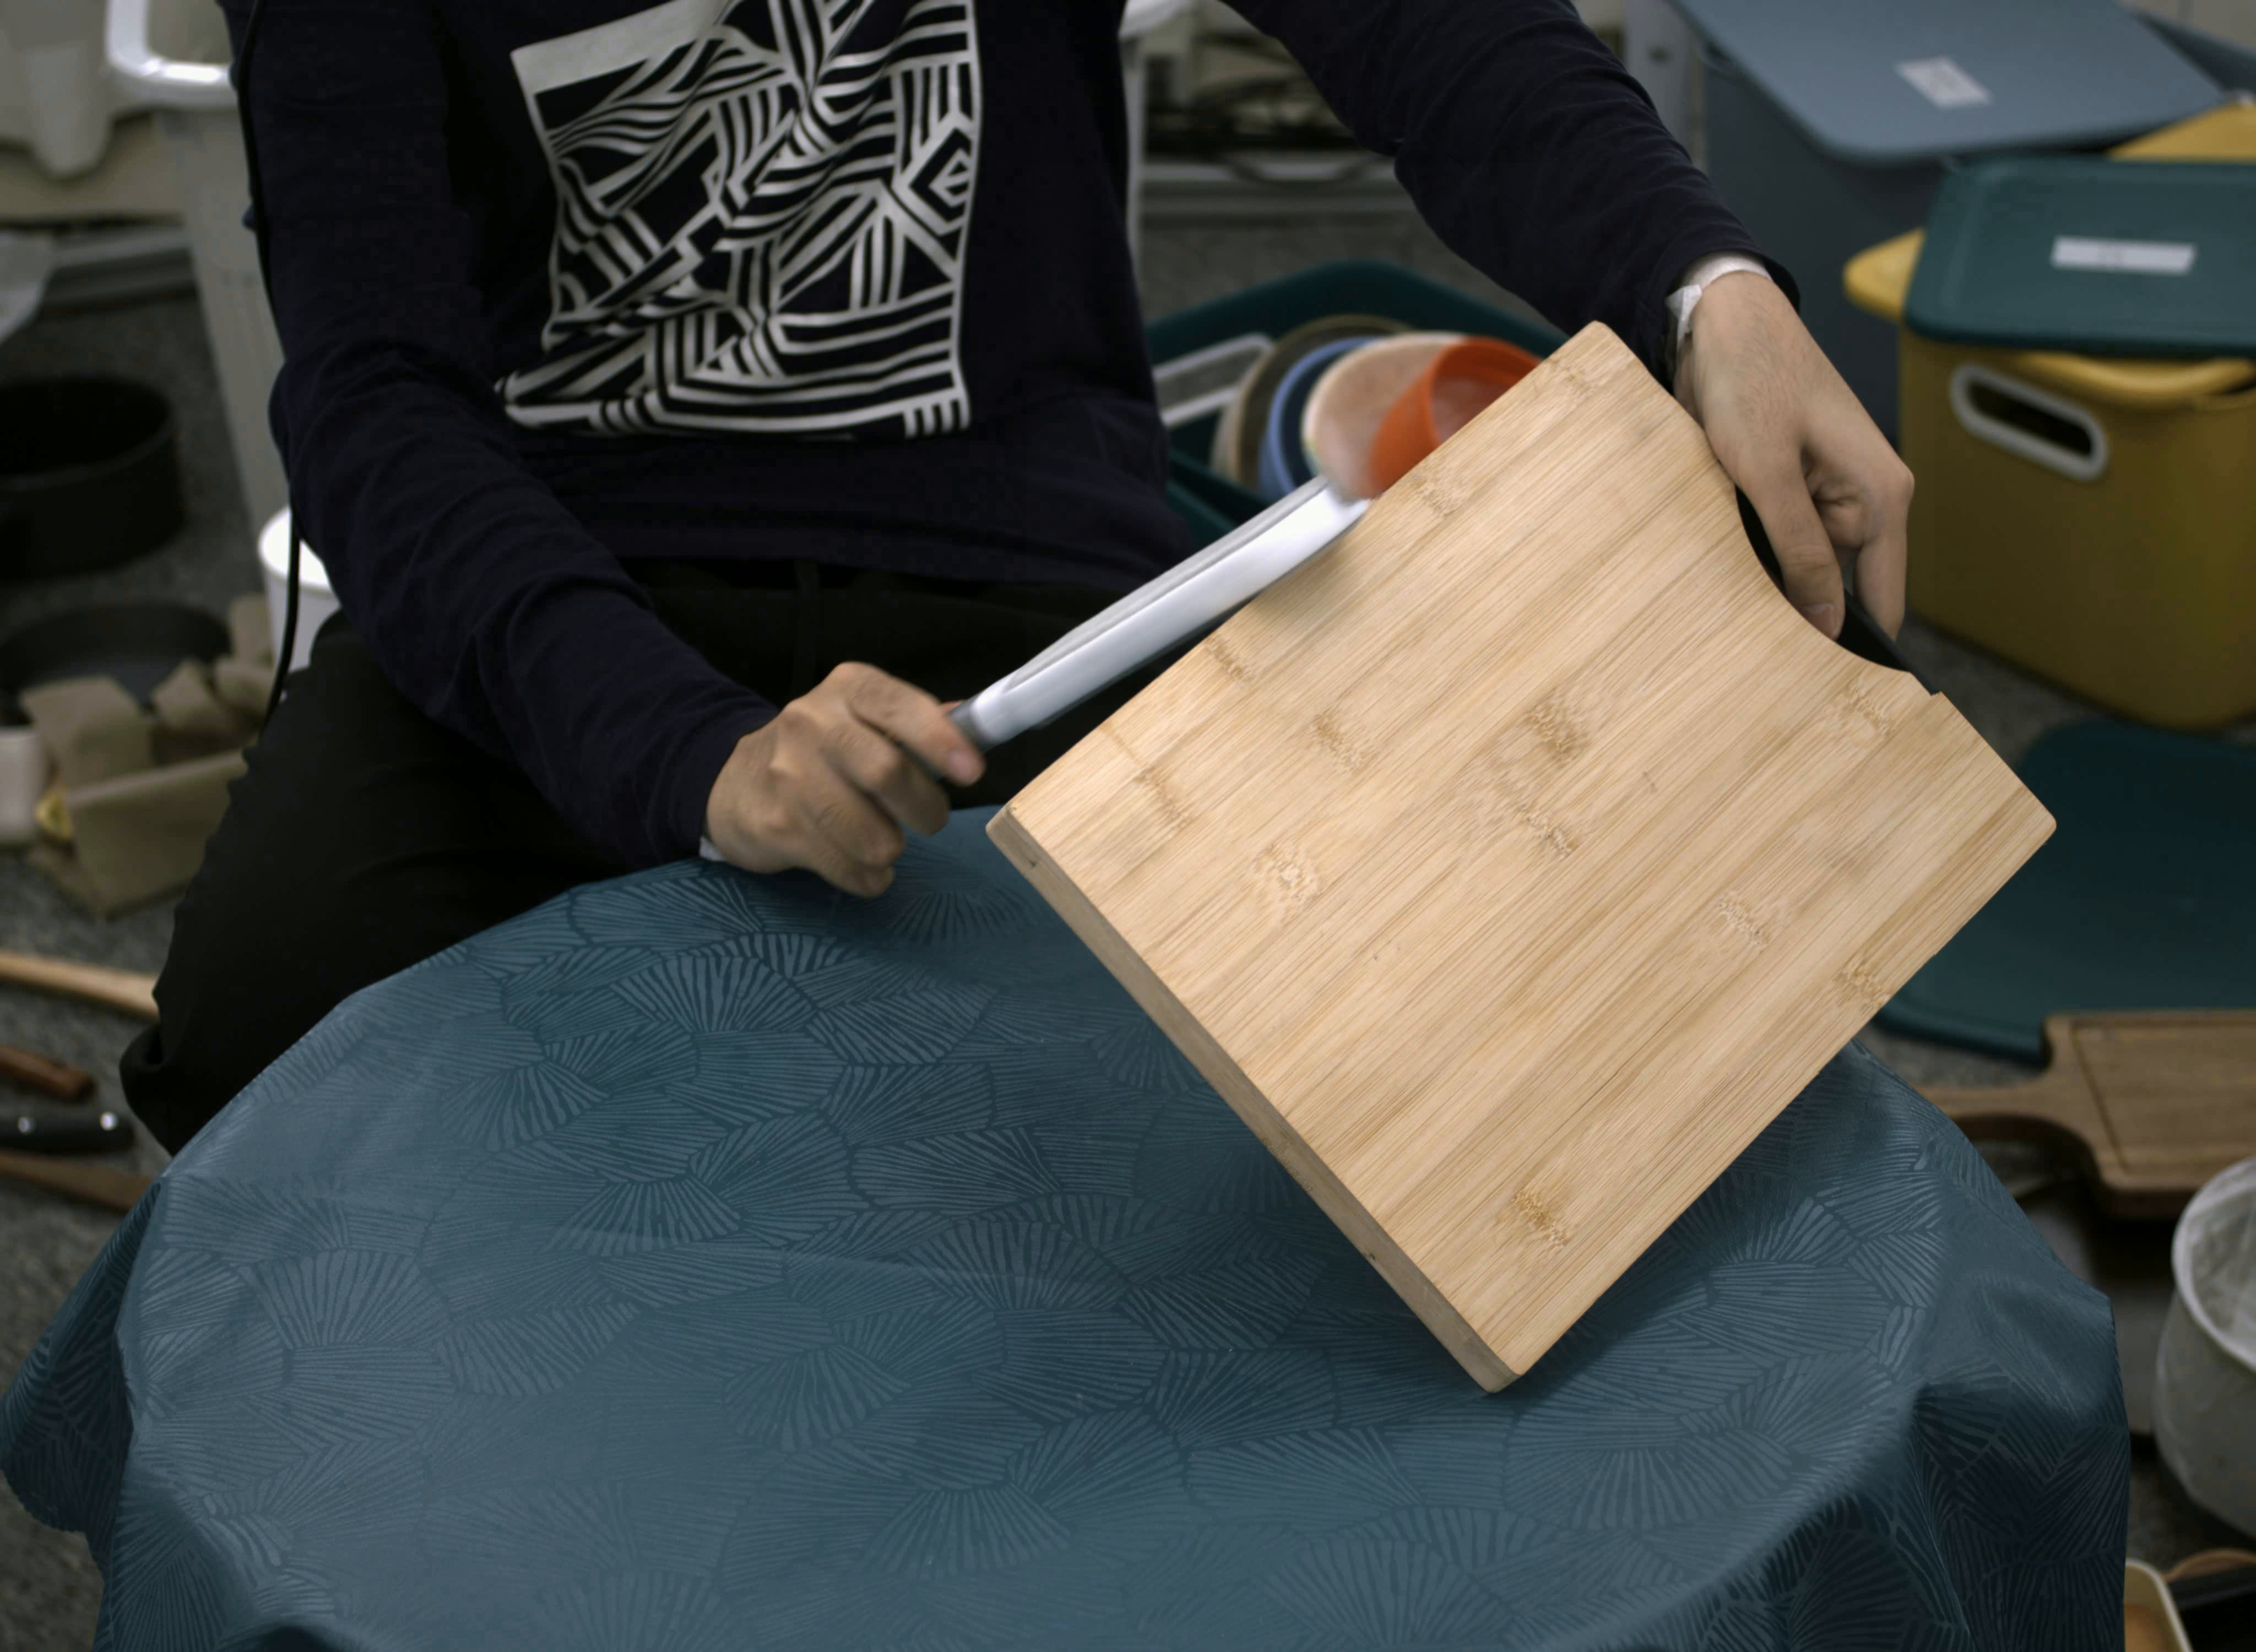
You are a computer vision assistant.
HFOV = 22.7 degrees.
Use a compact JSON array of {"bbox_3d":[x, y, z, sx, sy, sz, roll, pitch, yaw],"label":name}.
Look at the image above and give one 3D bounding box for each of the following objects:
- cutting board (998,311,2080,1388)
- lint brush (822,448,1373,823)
[{"bbox_3d":[0.142,-0.002,1.858,0.251,0.023,0.354,48,50,2],"label":"cutting board"},{"bbox_3d":[-0.016,-0.061,1.937,0.304,0.021,0.061,-30,13,47],"label":"lint brush"}]
